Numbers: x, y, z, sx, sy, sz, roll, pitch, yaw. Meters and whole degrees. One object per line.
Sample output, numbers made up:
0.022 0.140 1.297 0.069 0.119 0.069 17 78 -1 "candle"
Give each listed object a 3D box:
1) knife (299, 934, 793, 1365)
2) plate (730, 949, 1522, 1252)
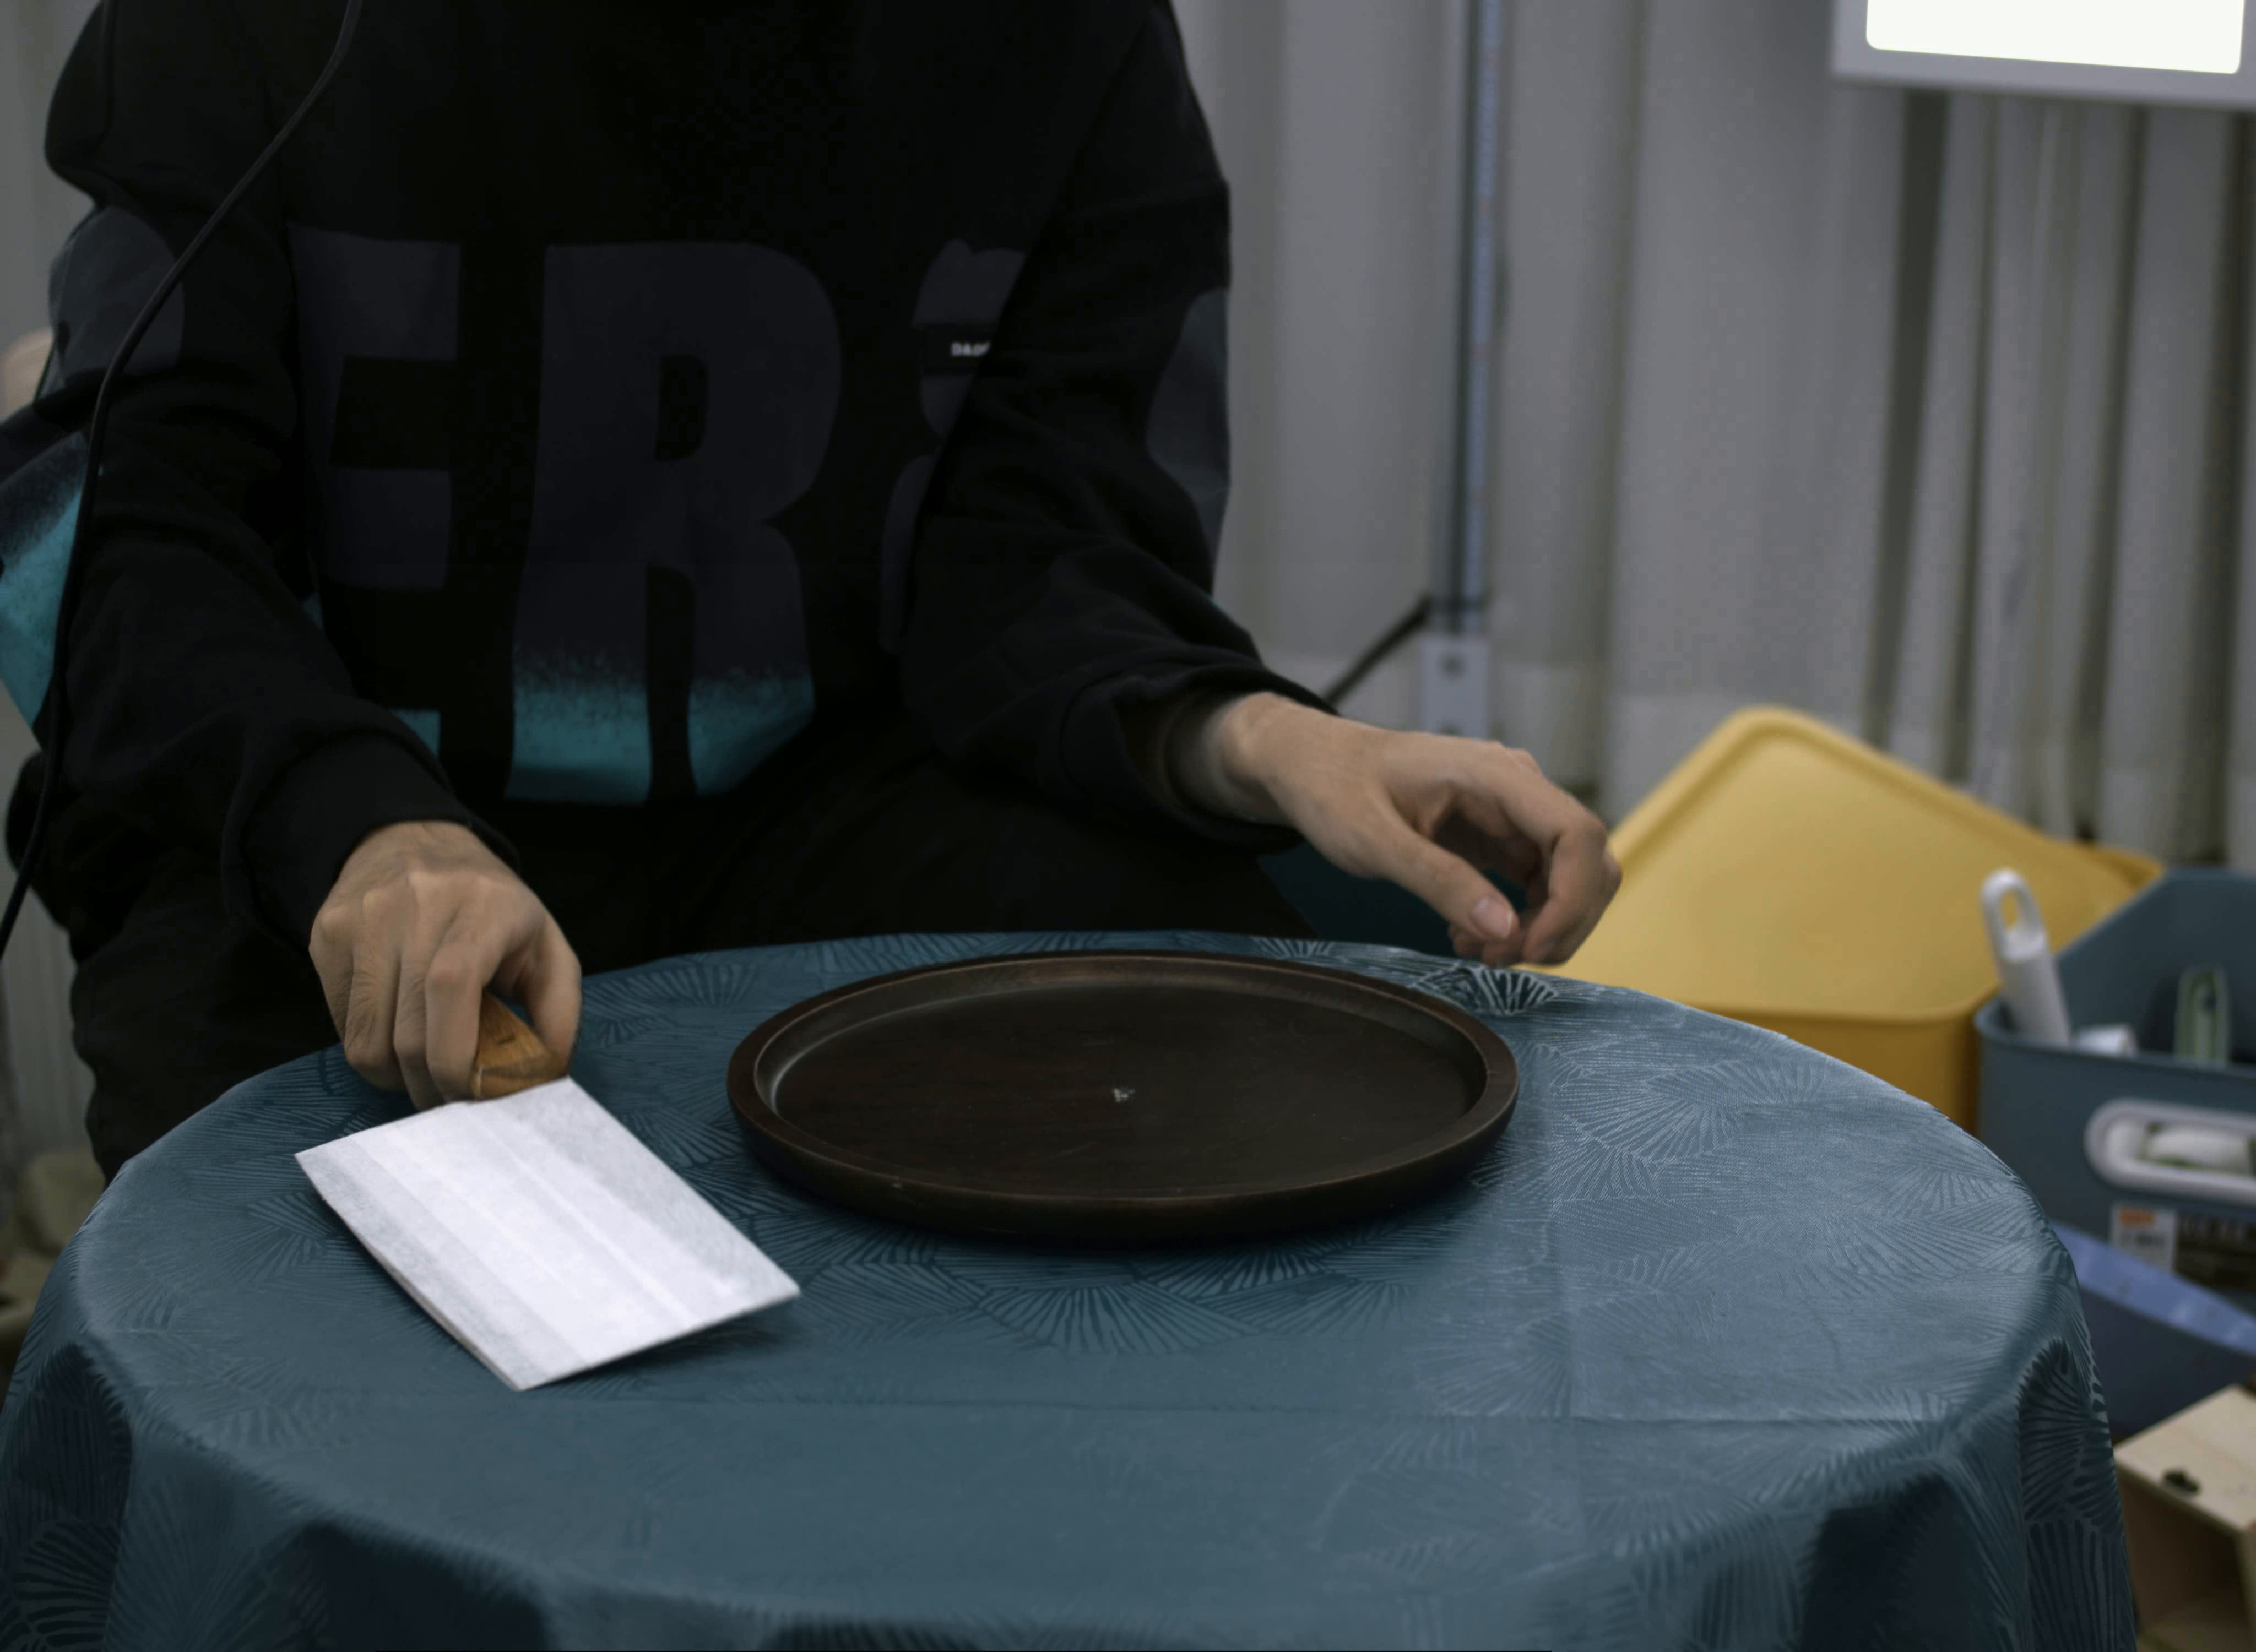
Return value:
-0.199 0.098 1.601 0.093 0.021 0.302 -20 26 -21 "knife"
-0.001 0.085 1.675 0.254 0.029 0.253 2 15 0 "plate"
